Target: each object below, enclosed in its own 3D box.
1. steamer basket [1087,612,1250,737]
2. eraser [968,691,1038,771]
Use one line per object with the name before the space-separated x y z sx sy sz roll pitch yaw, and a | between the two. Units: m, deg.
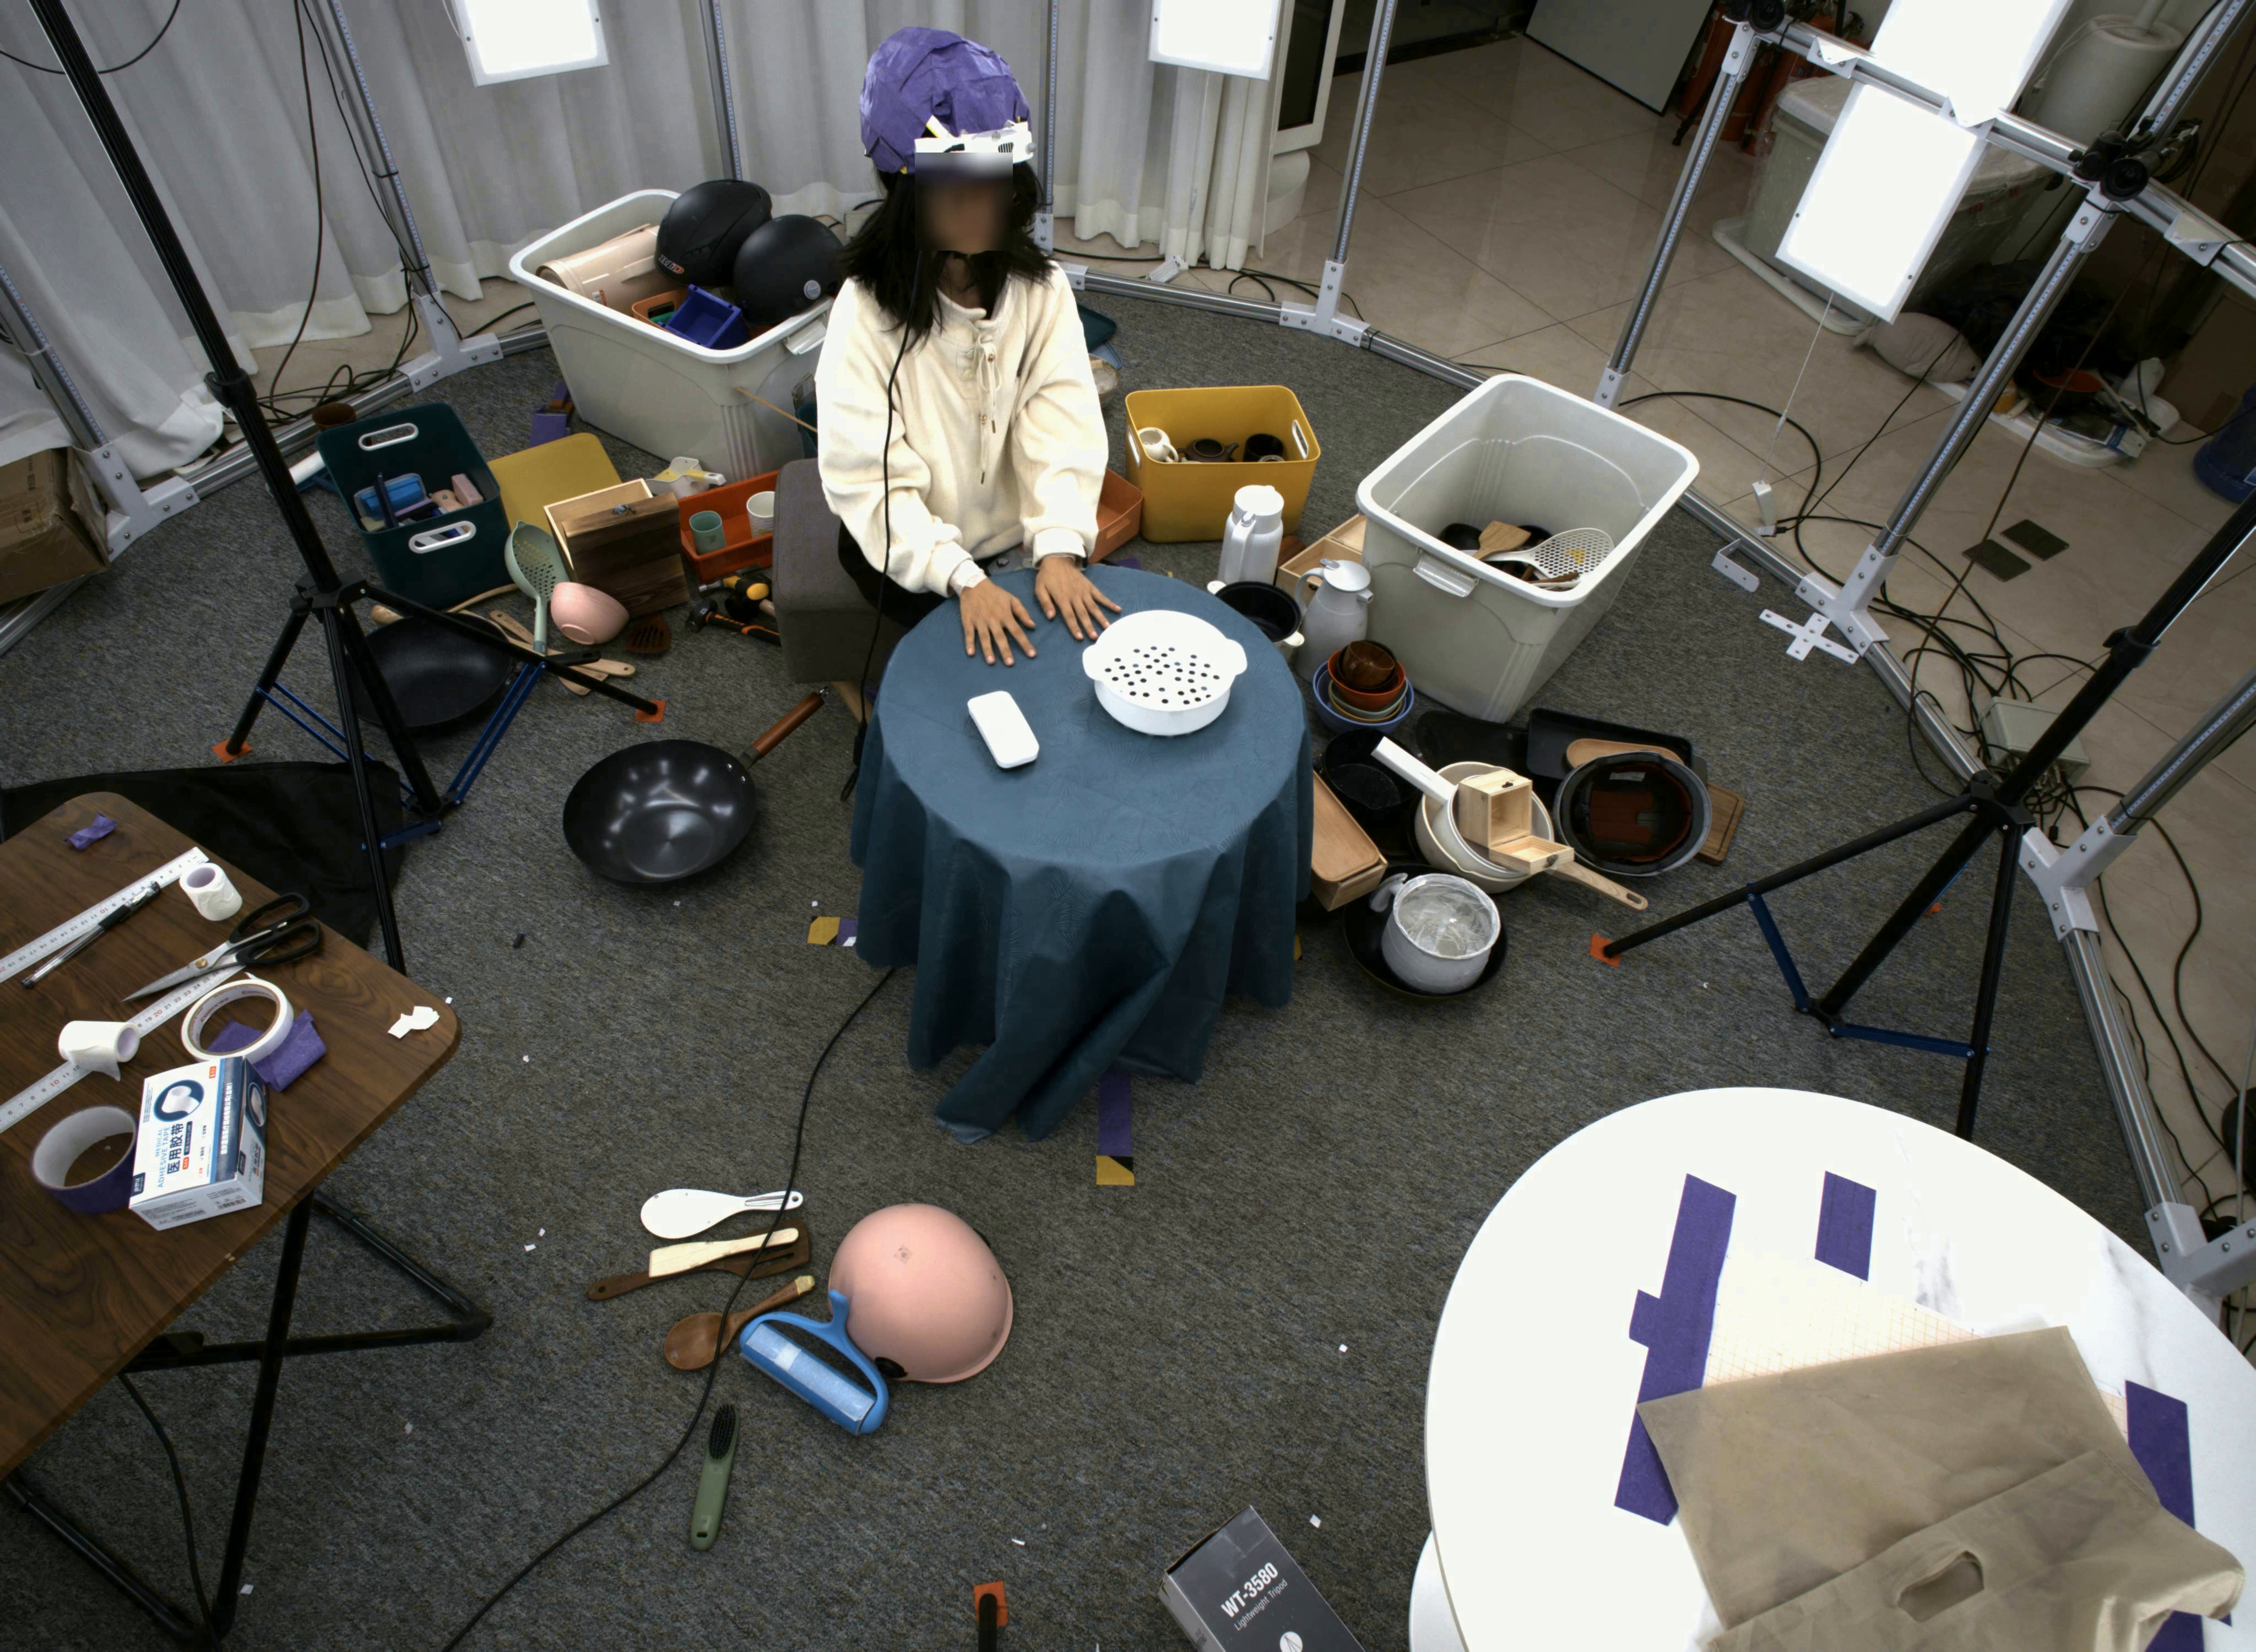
steamer basket | 0.055 -0.215 1.817 0.230 0.067 0.207 -3 49 -8
eraser | -0.170 -0.133 1.754 0.063 0.034 0.134 -16 53 -17
